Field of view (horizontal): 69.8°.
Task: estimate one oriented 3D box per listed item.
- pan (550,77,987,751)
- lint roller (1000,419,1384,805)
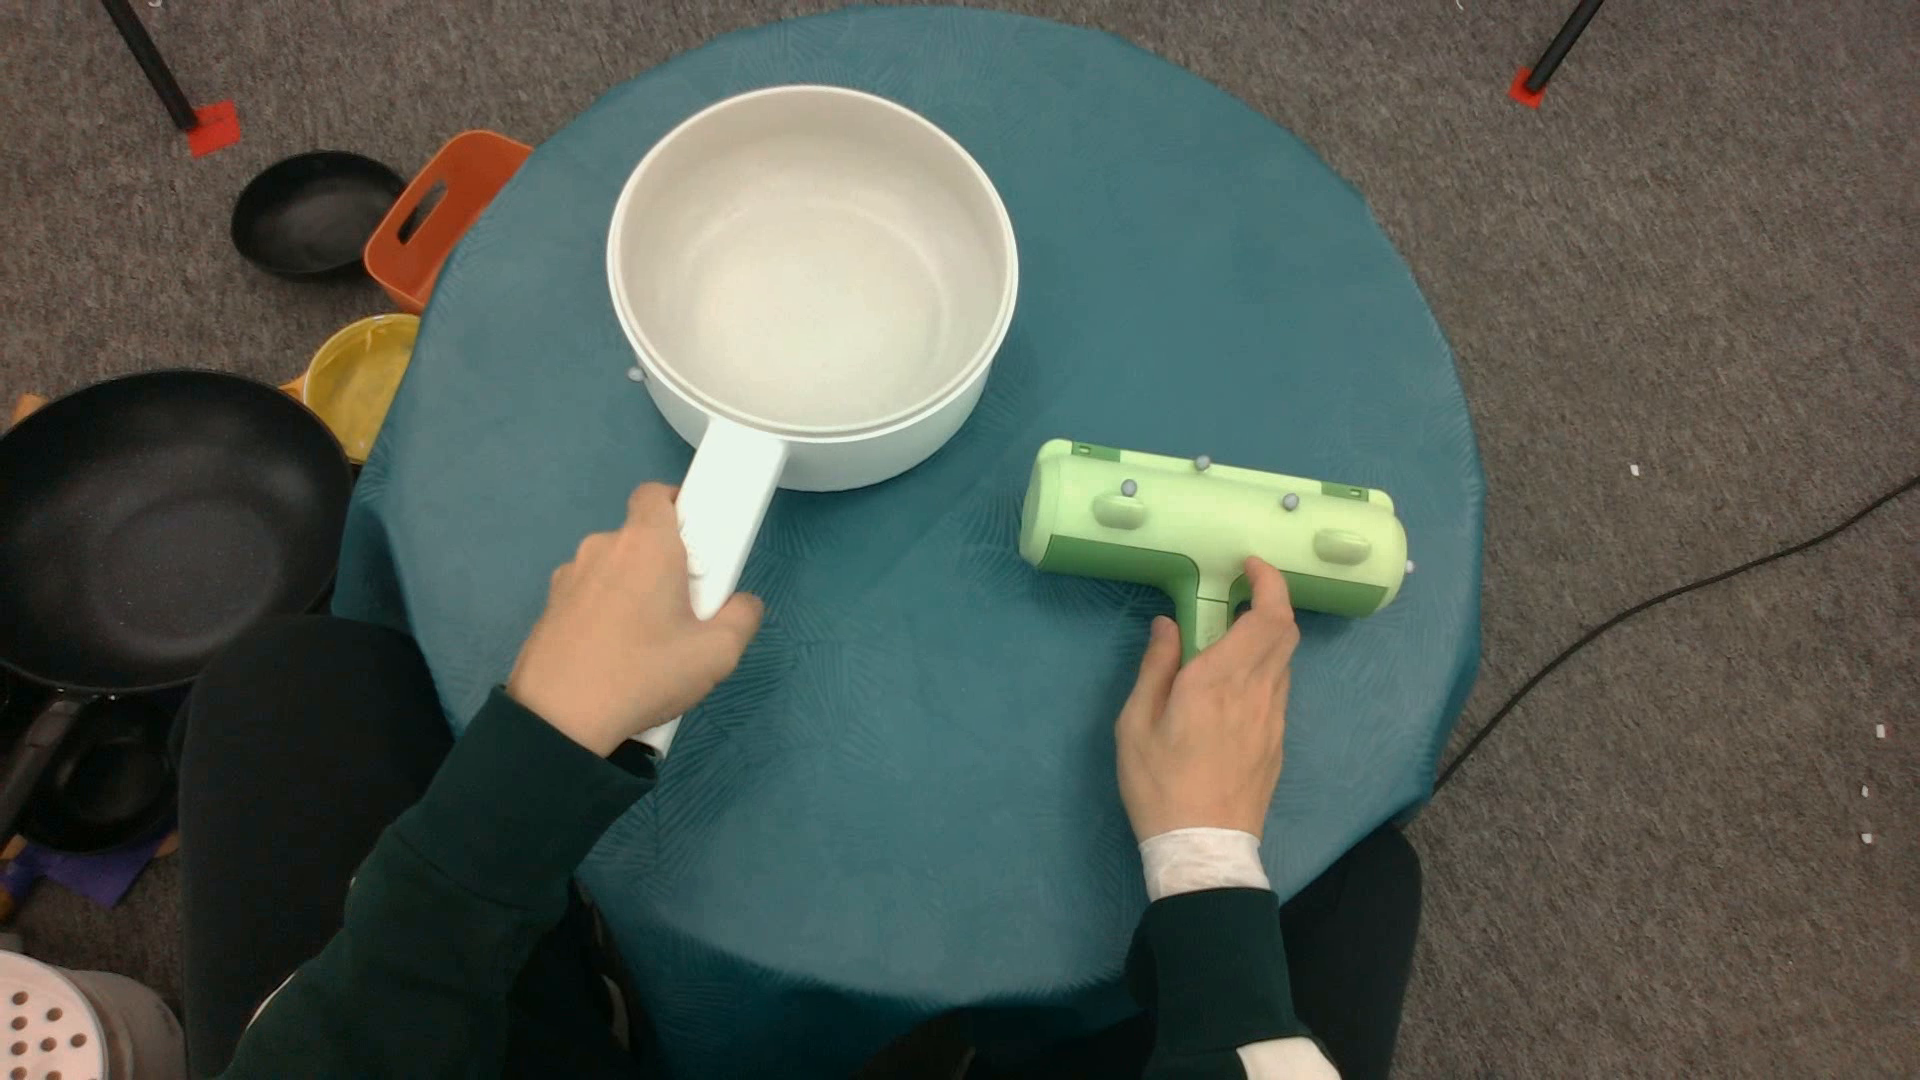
[{"bbox_3d":[-0.112,-0.062,0.694,0.201,0.101,0.356,18,69,-1],"label":"pan"},{"bbox_3d":[0.119,0.035,0.686,0.199,0.082,0.184,8,67,-10],"label":"lint roller"}]
